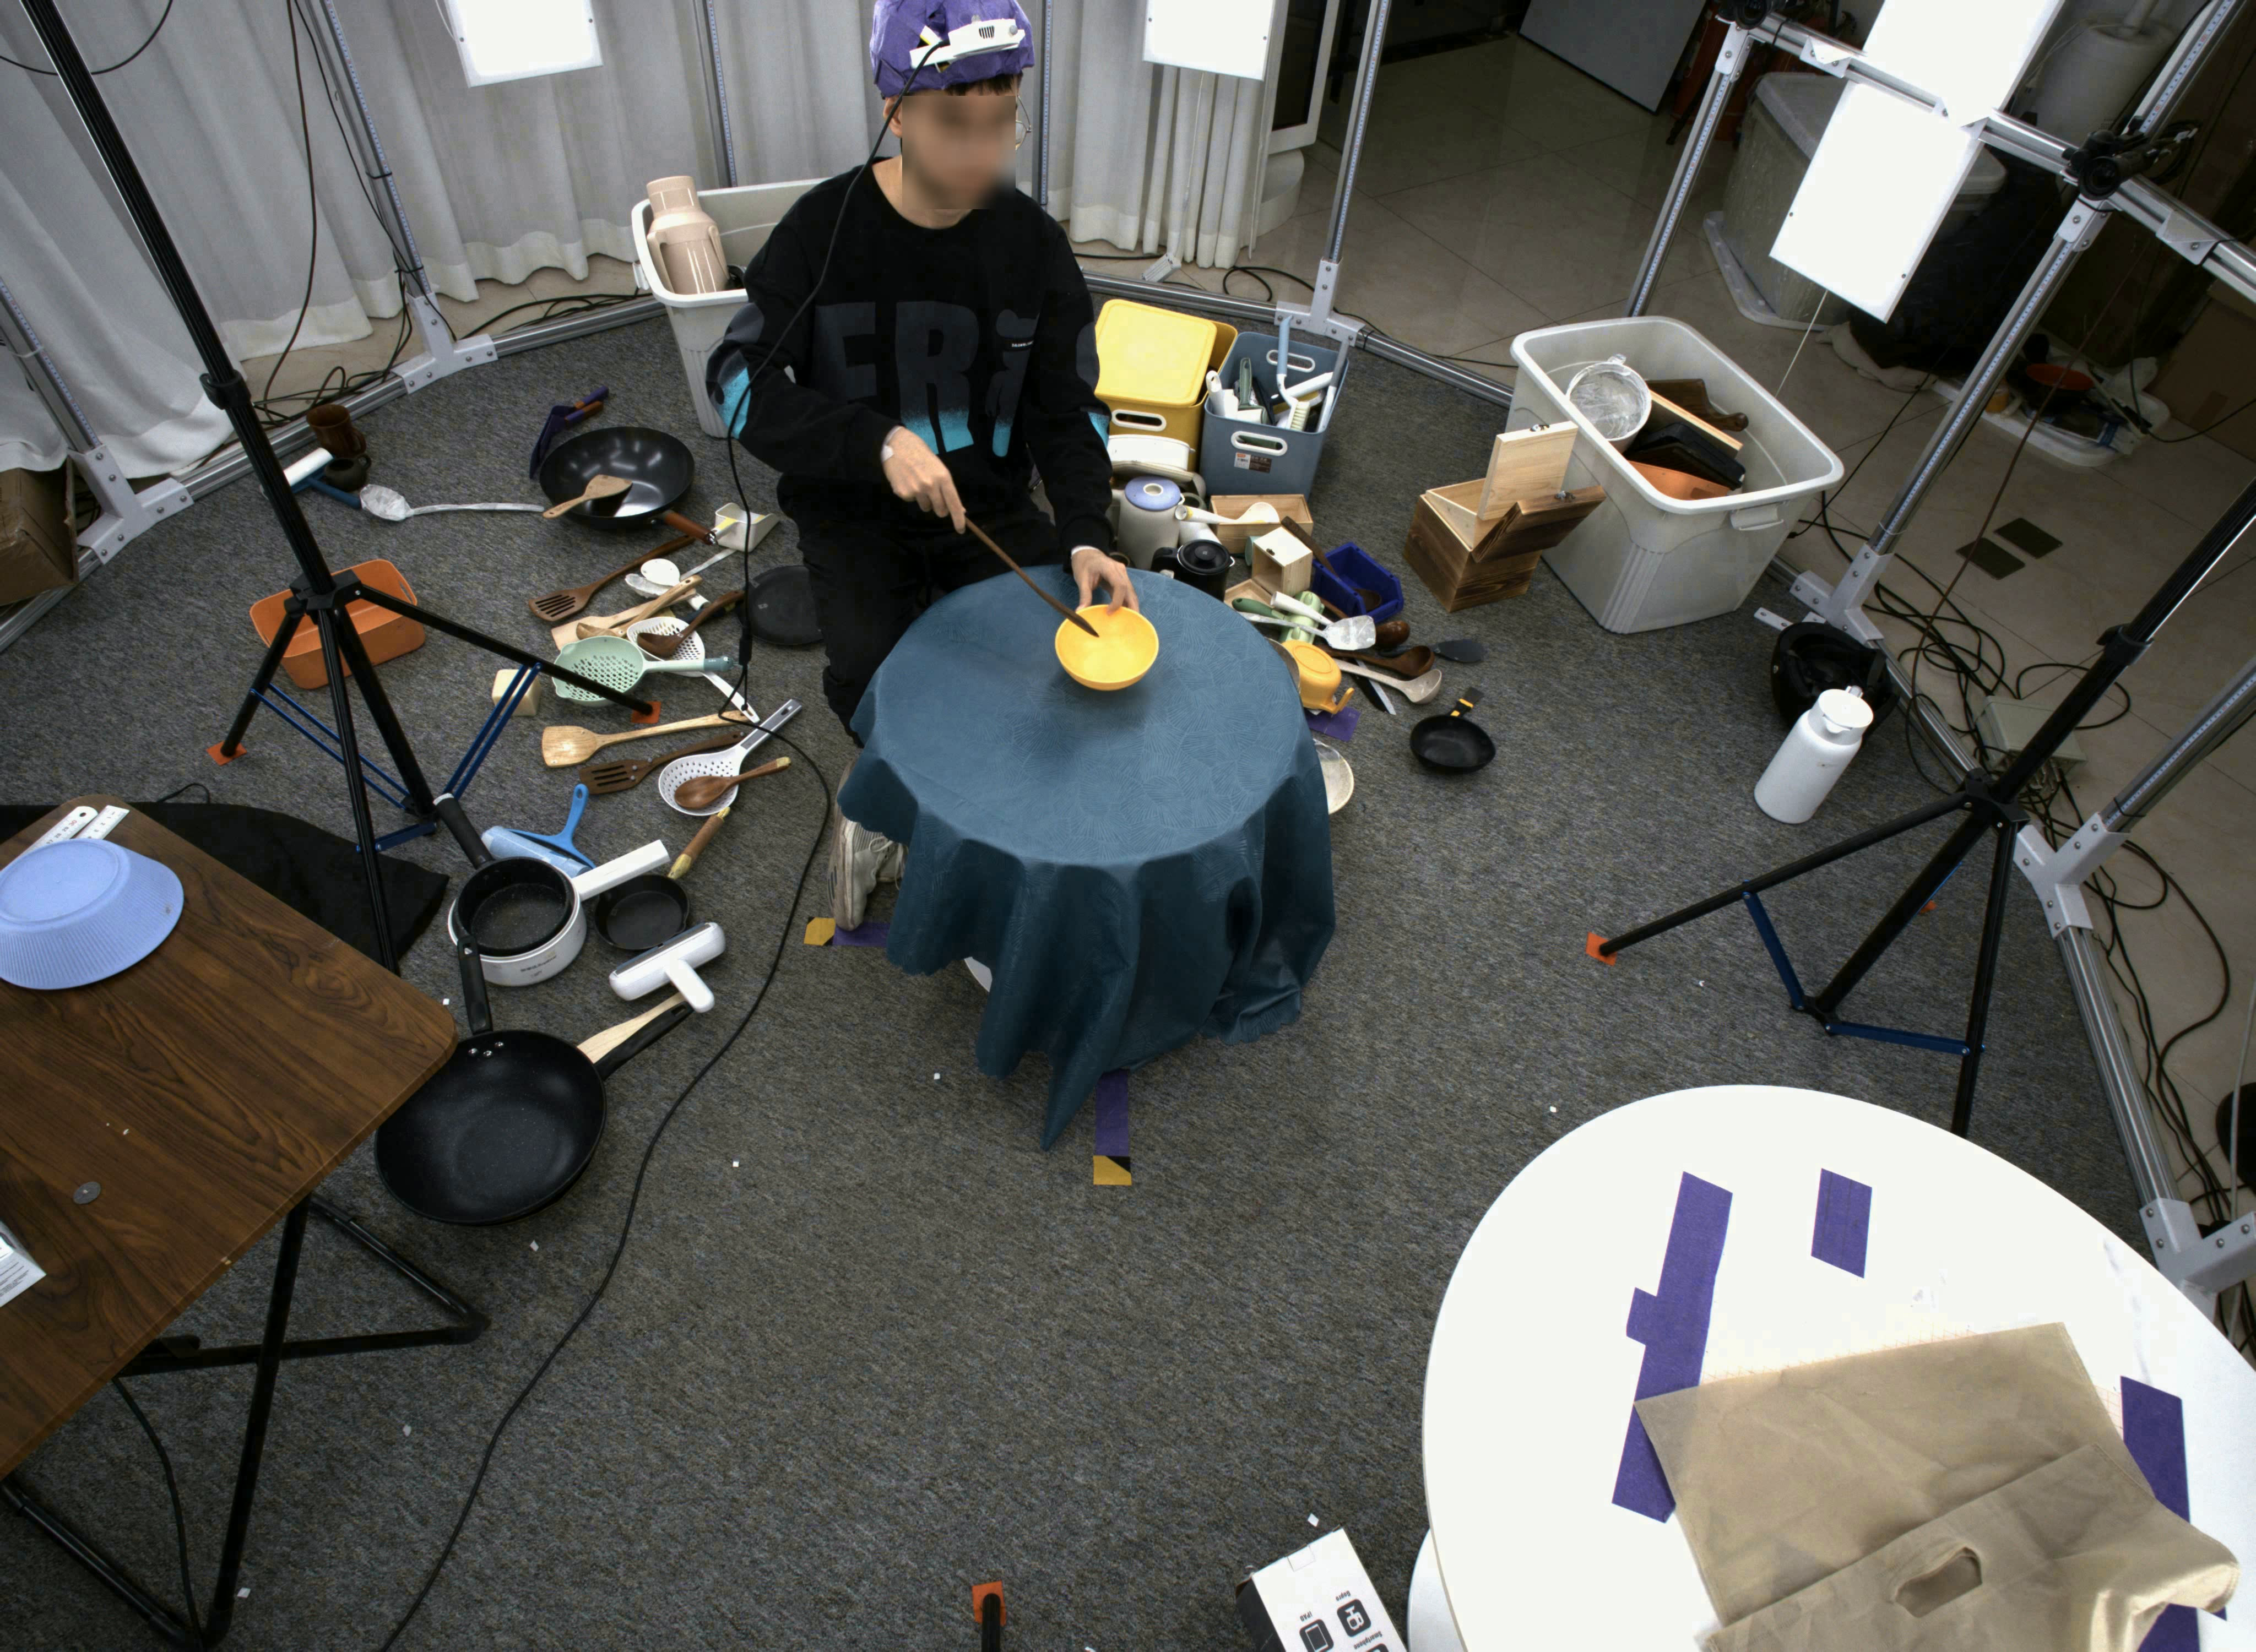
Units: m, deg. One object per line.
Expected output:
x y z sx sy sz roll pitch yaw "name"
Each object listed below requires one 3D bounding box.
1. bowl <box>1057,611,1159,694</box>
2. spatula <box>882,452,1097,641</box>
-0.030 -0.238 1.841 0.145 0.059 0.149 1 53 -2 "bowl"
-0.187 -0.381 1.753 0.387 0.096 0.016 42 94 5 "spatula"
